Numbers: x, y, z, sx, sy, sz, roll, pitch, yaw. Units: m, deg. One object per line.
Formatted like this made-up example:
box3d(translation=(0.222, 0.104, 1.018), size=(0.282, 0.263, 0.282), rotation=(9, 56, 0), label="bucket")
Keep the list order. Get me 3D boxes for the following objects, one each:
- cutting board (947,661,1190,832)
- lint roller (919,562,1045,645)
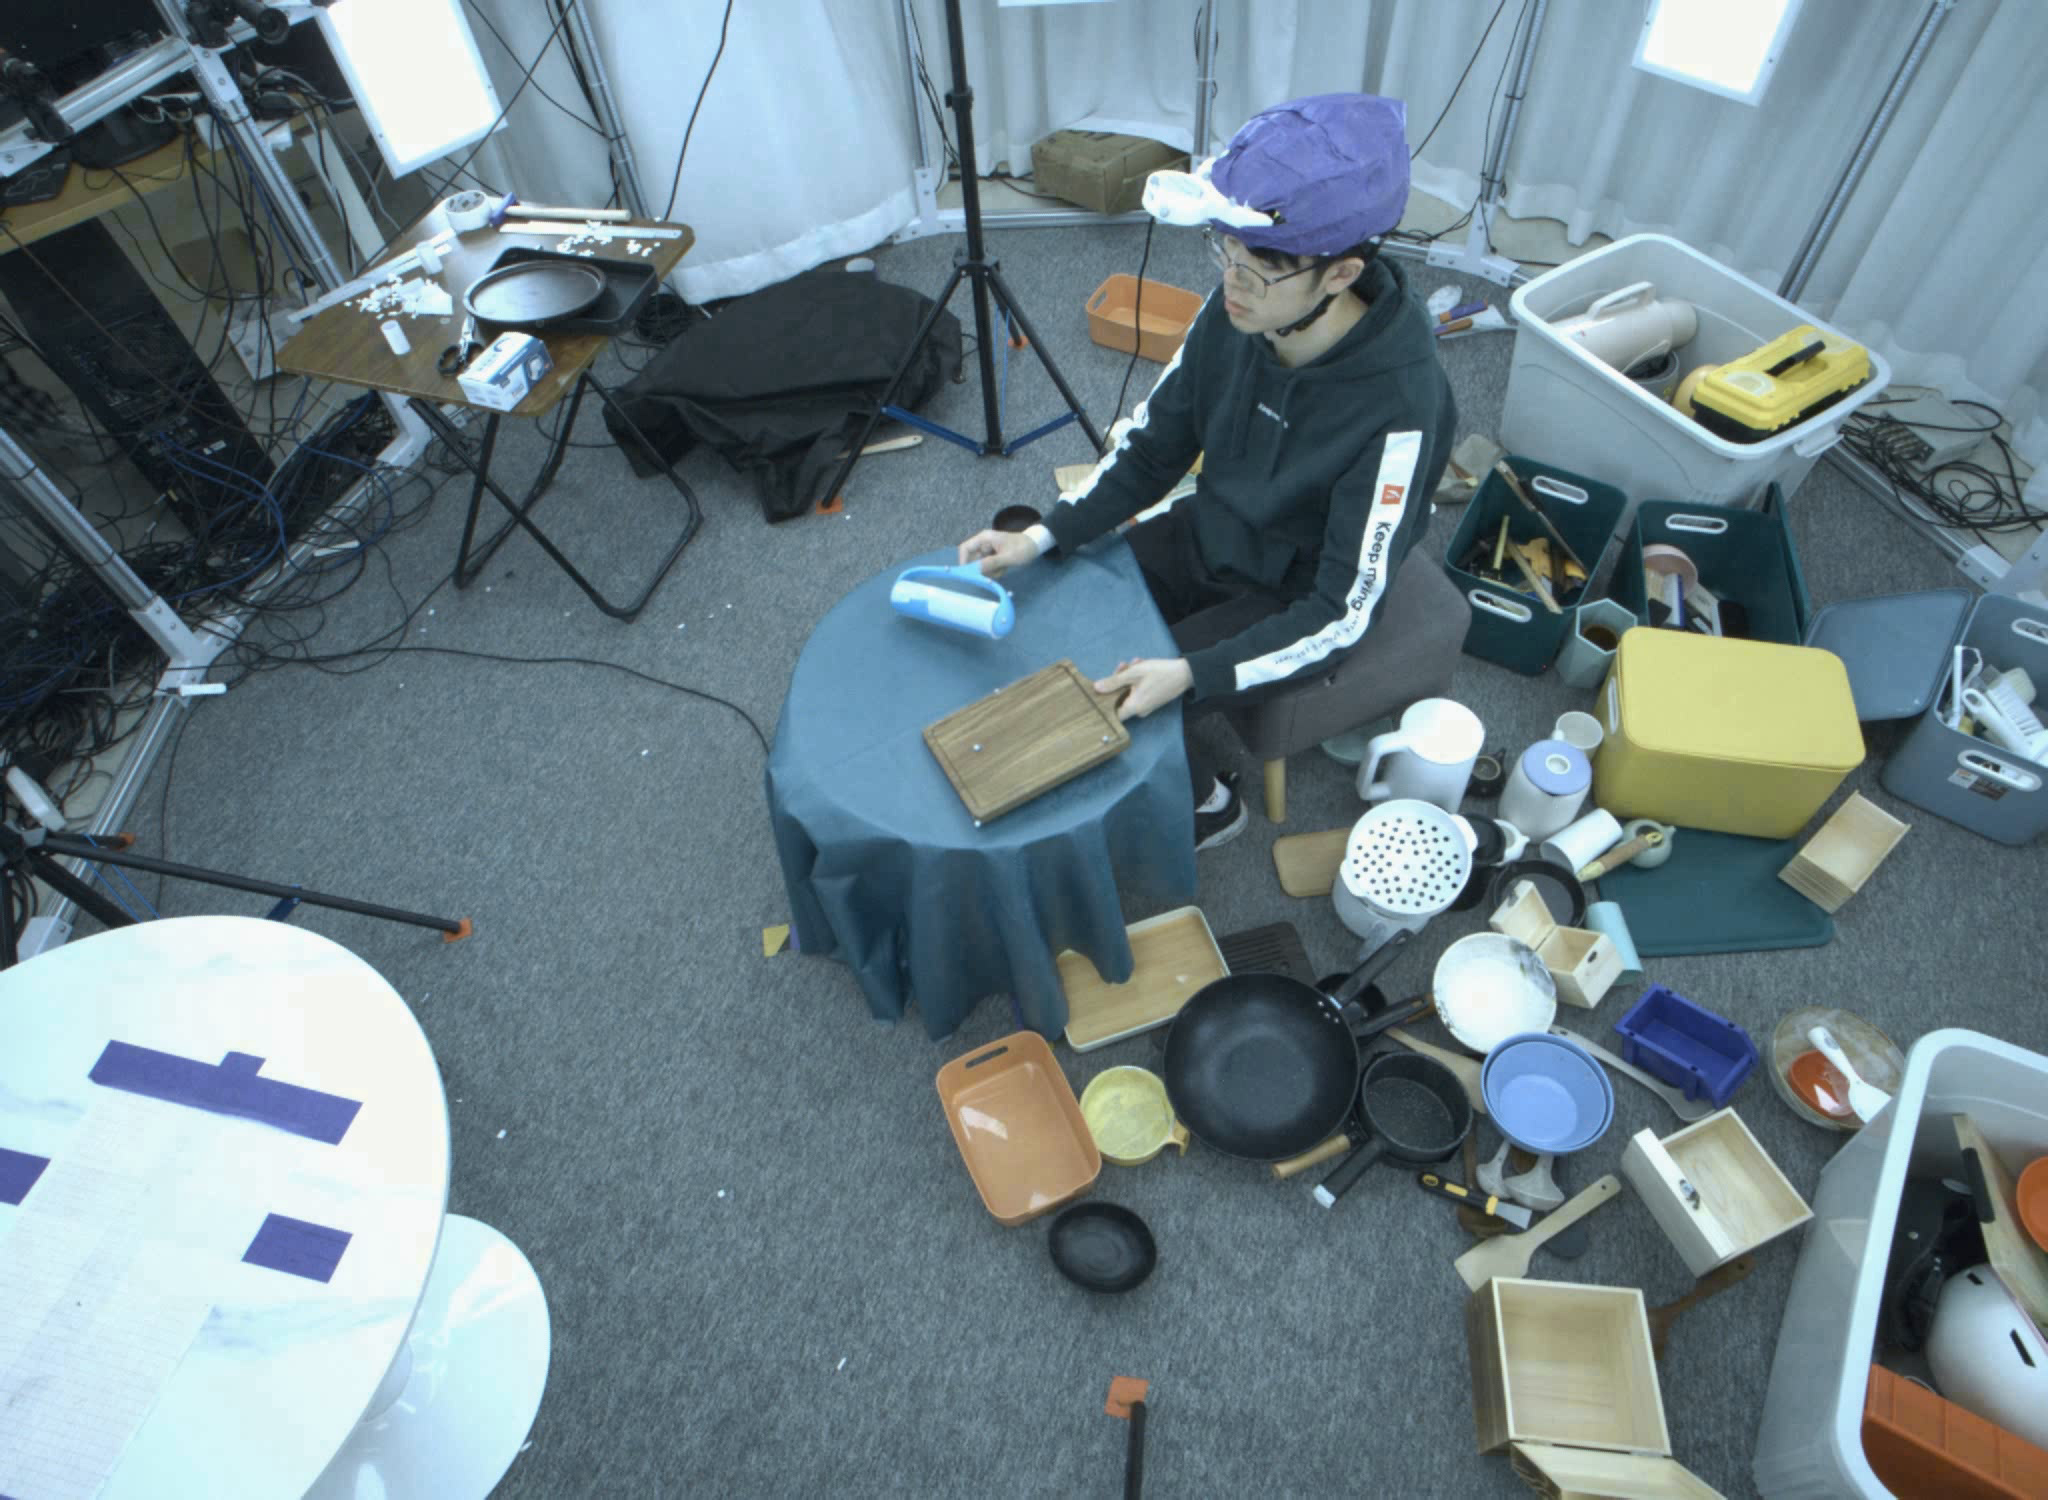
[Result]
box3d(translation=(0.083, -0.032, 1.764), size=(0.354, 0.023, 0.197), rotation=(-26, 54, -10), label="cutting board")
box3d(translation=(-0.036, -0.248, 1.886), size=(0.224, 0.069, 0.181), rotation=(17, 53, 30), label="lint roller")
